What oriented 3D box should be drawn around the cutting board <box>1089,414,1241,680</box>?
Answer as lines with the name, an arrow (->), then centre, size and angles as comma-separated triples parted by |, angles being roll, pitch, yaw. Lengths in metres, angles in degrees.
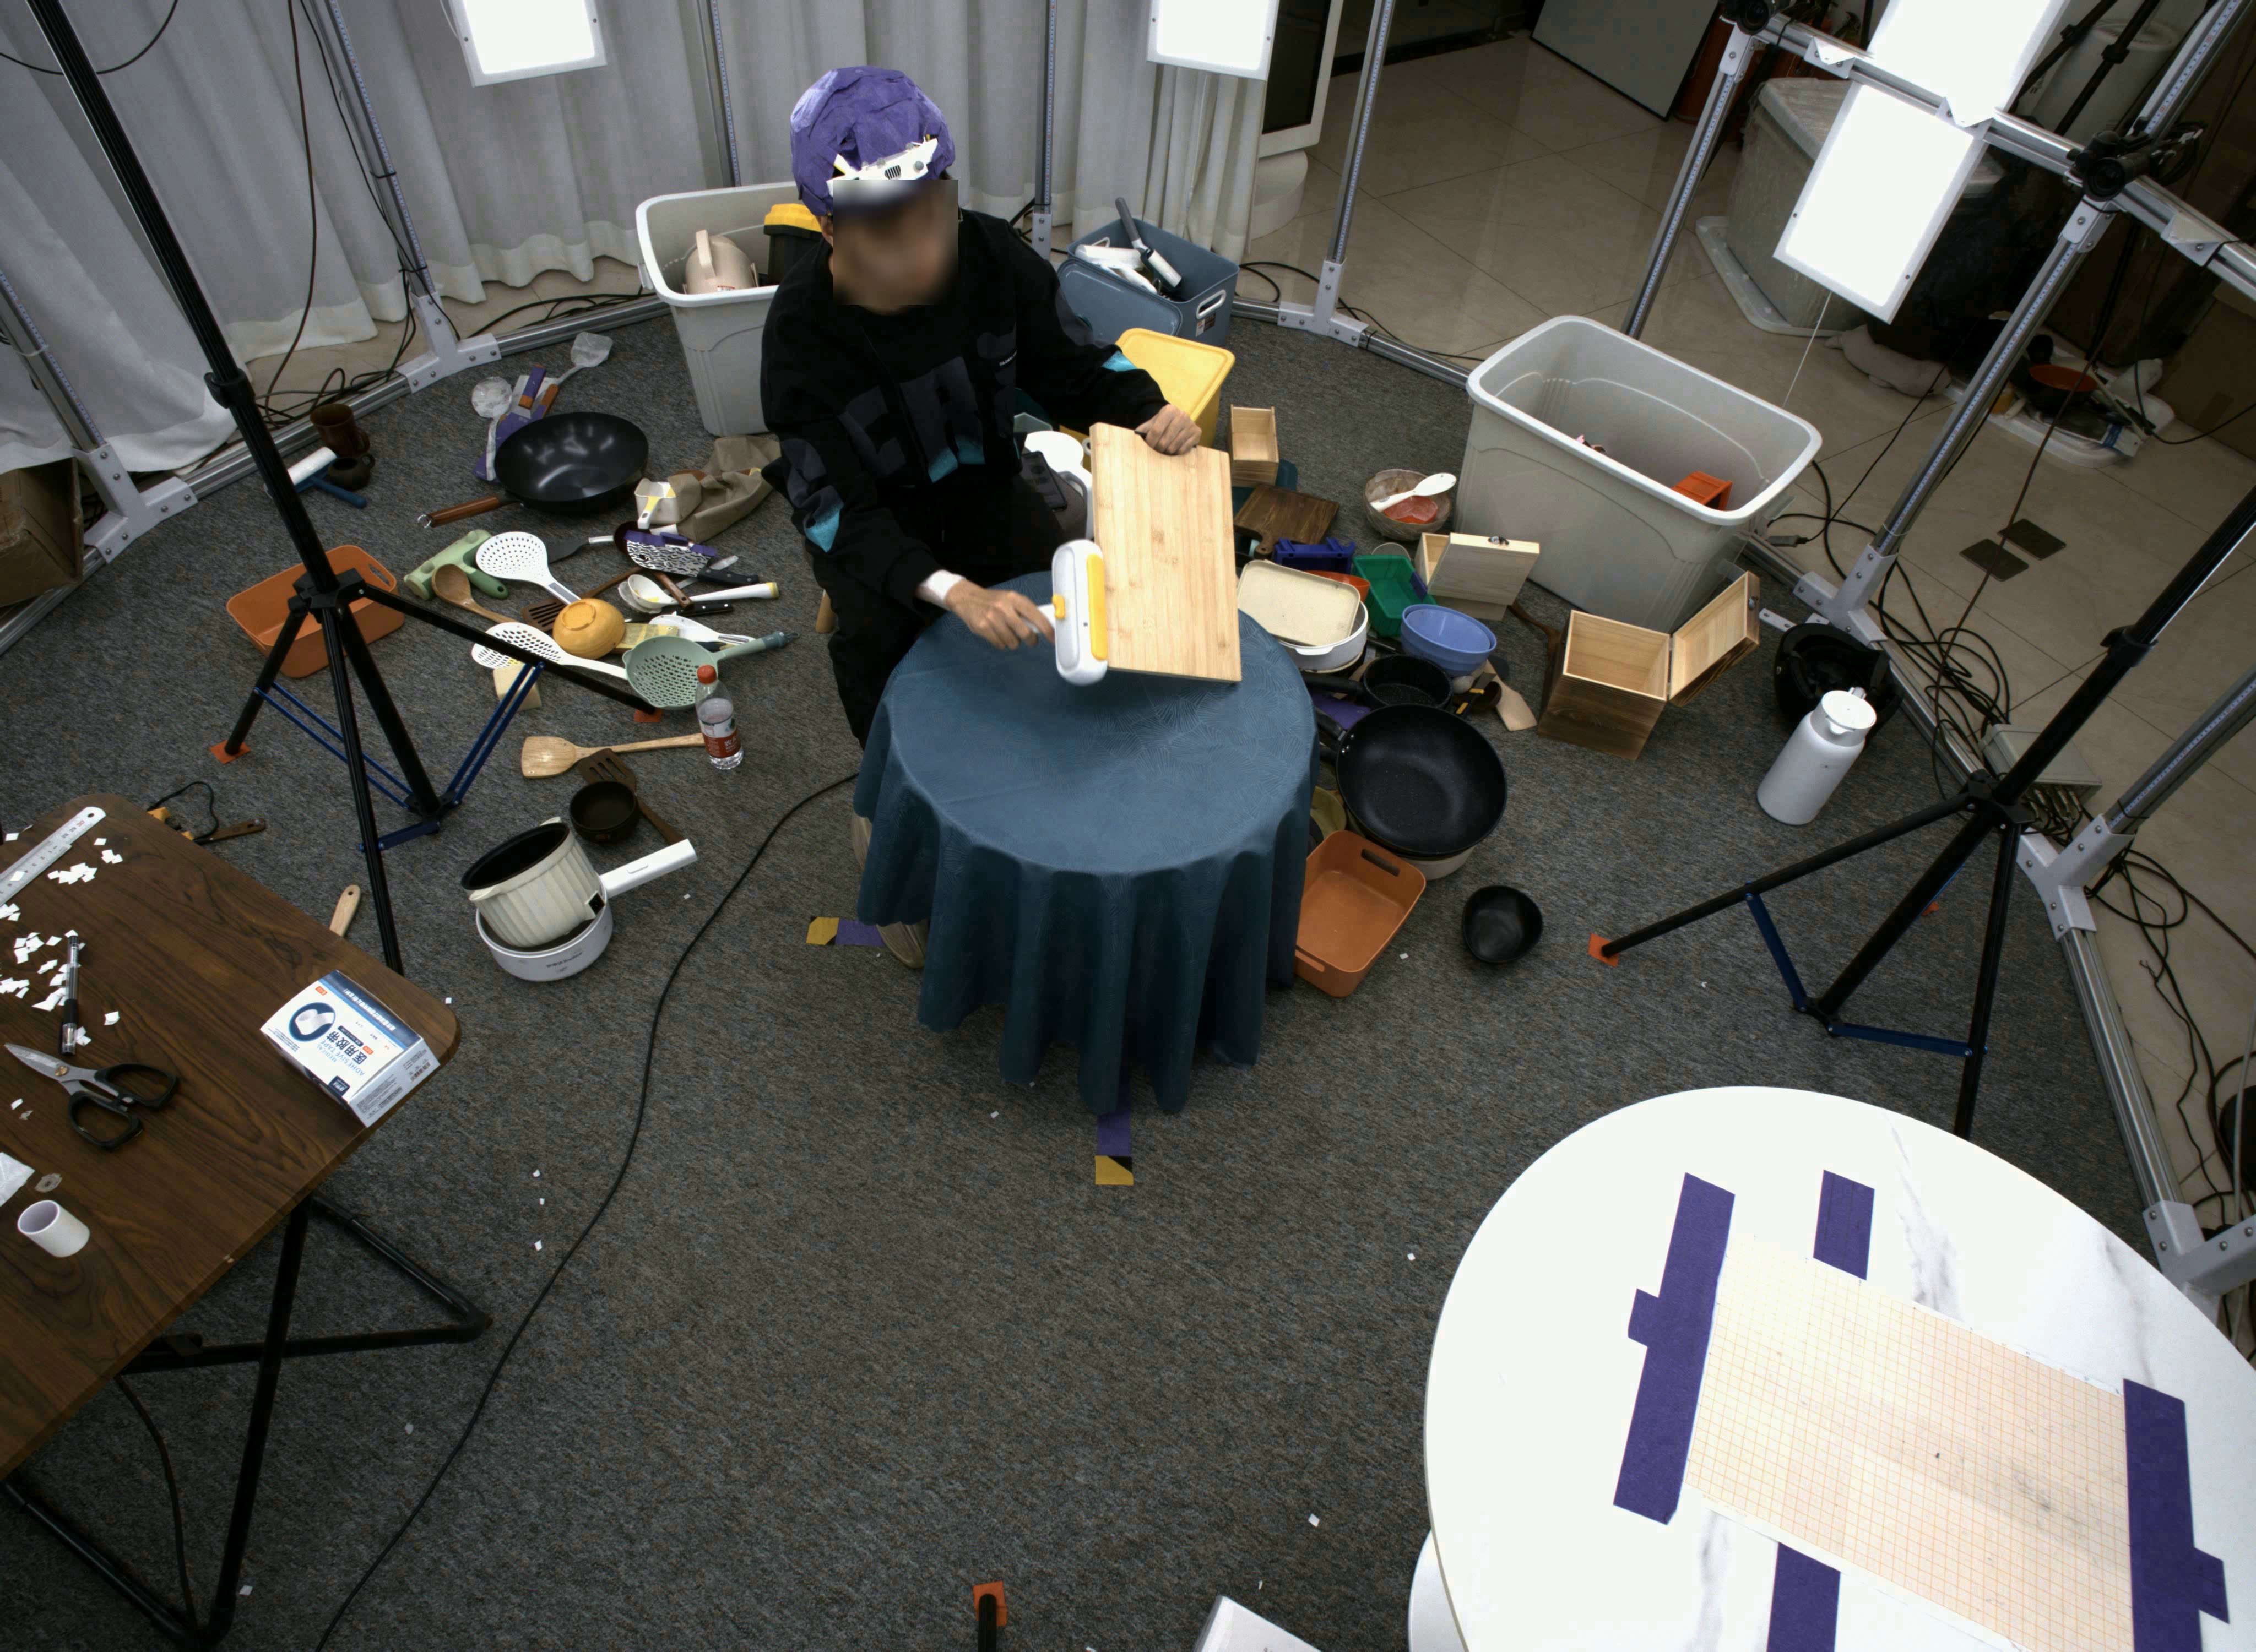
cutting board -> 0.055, -0.385, 1.807 | 0.249, 0.023, 0.351 | 2, 82, -36

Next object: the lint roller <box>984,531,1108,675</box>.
lint roller -> -0.113, -0.288, 1.748 | 0.074, 0.192, 0.194 | -1, 81, -48
